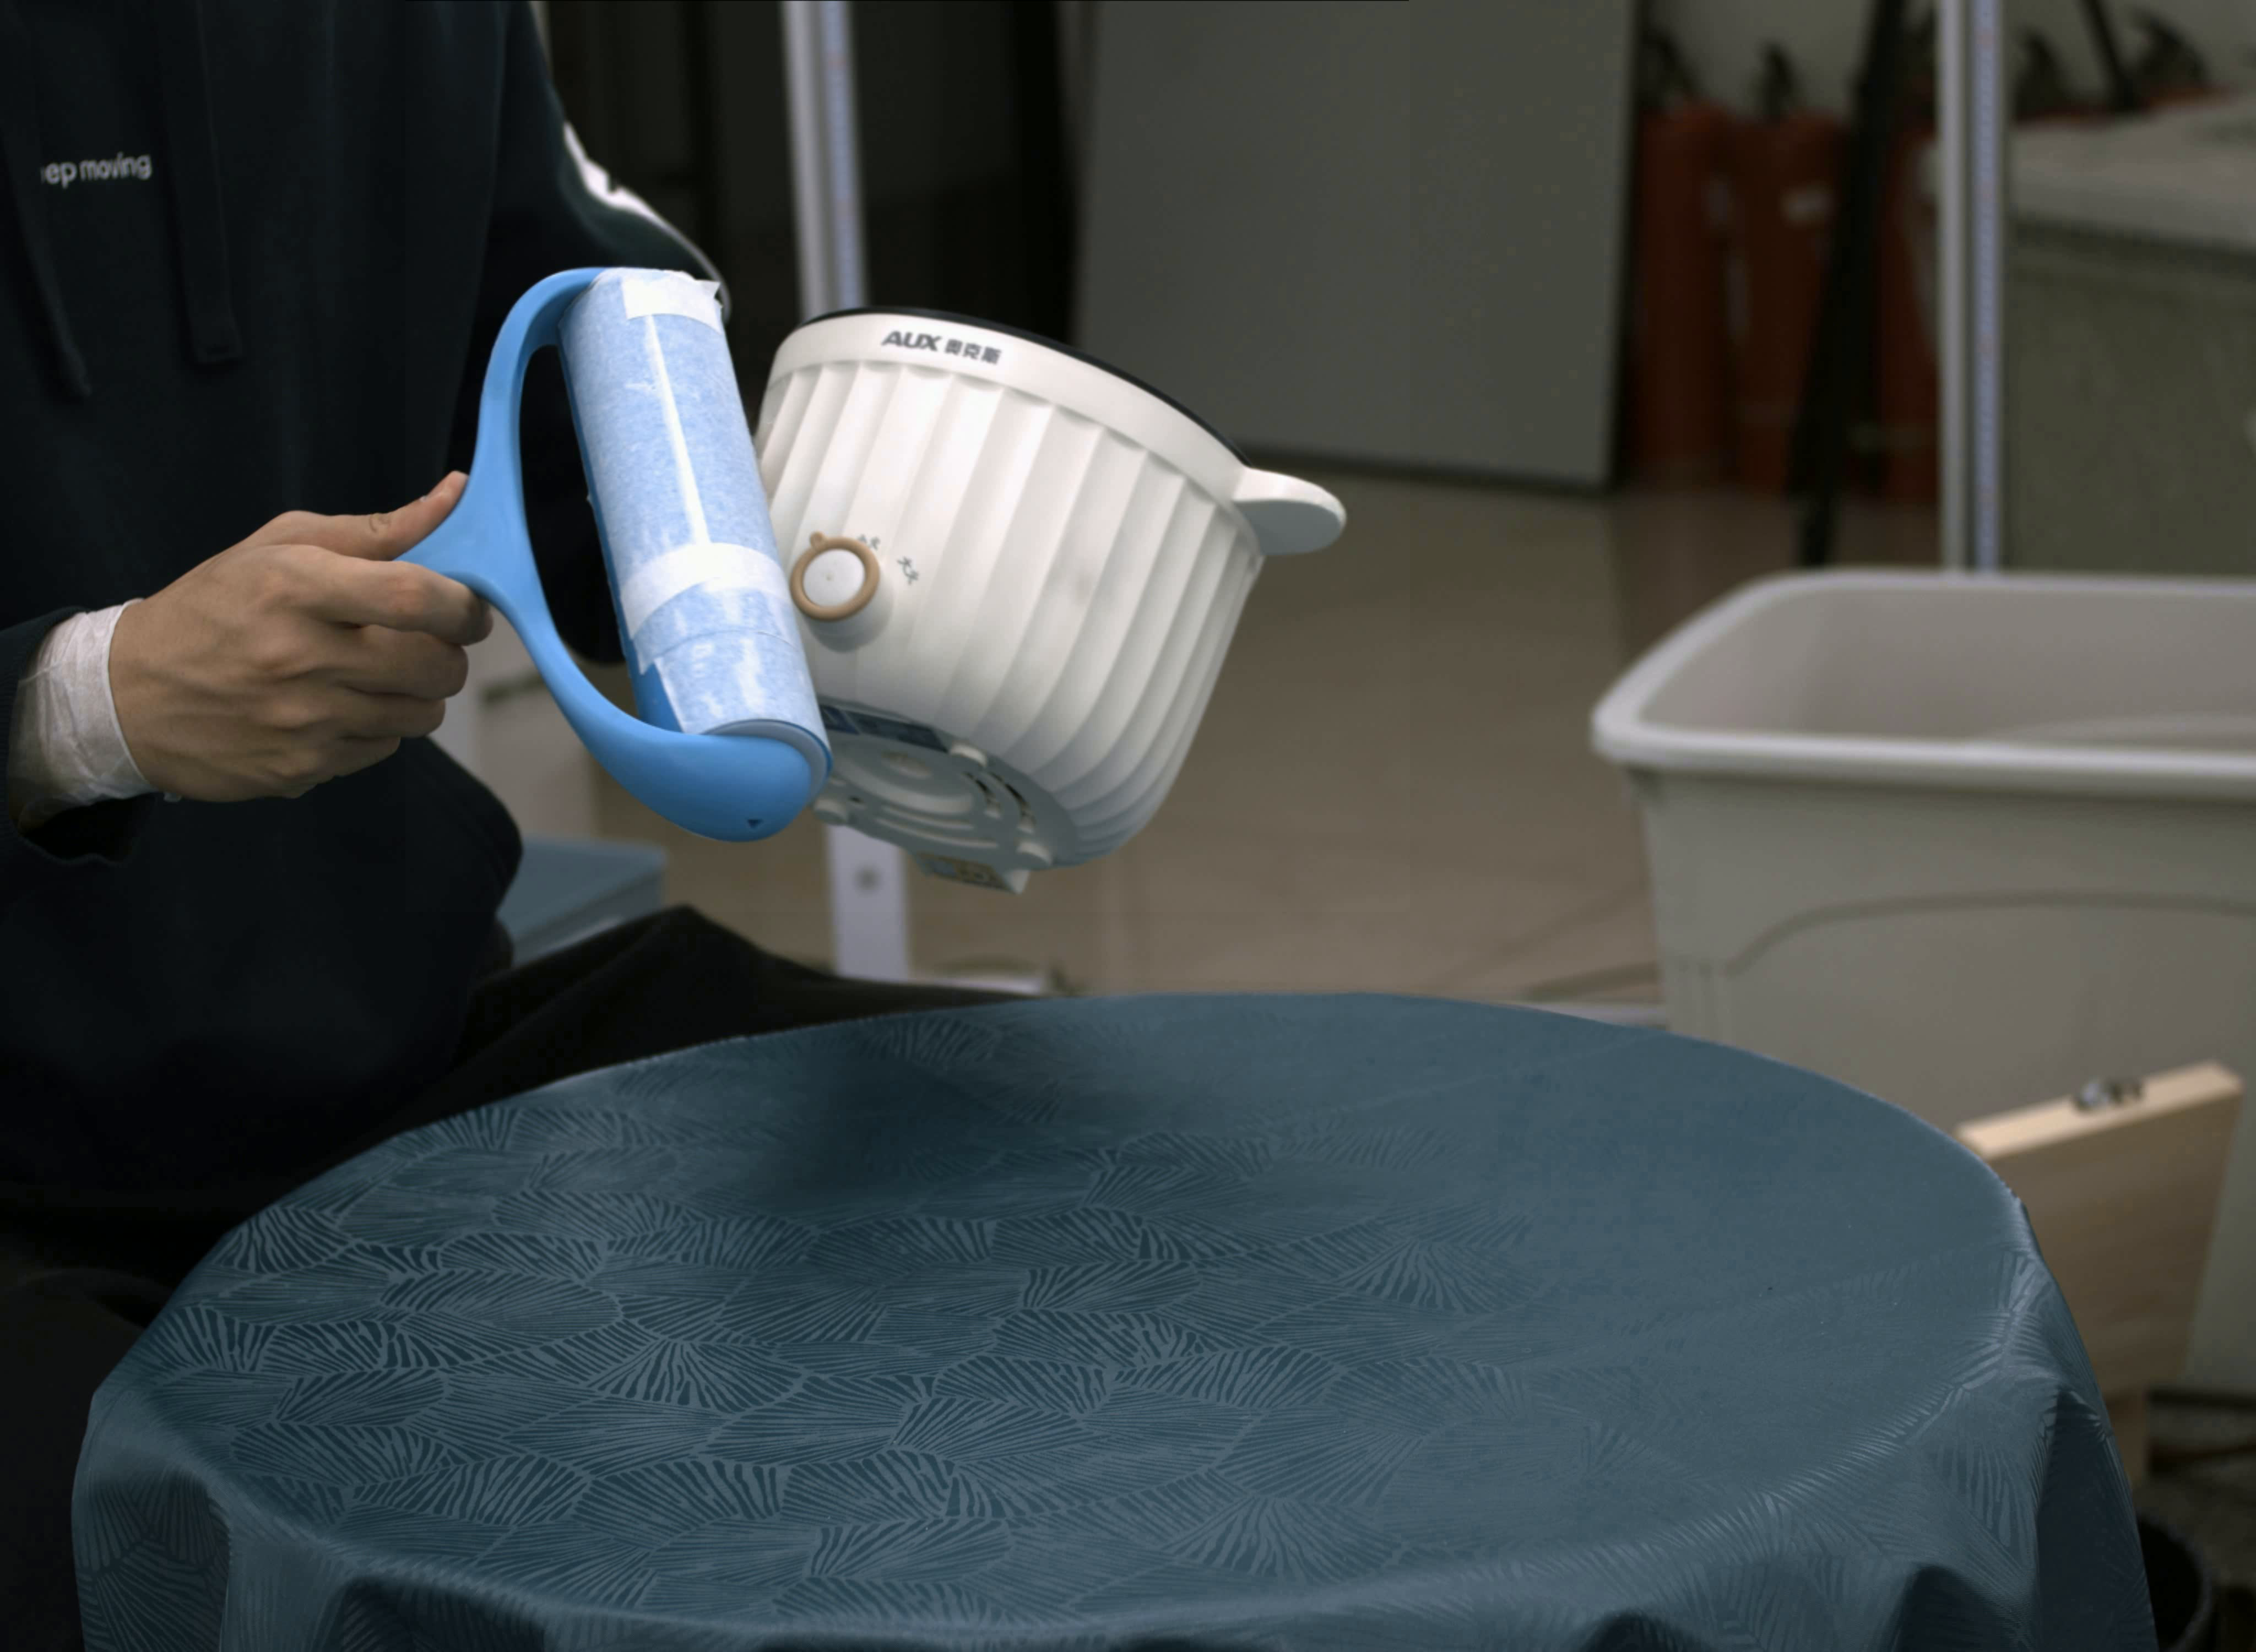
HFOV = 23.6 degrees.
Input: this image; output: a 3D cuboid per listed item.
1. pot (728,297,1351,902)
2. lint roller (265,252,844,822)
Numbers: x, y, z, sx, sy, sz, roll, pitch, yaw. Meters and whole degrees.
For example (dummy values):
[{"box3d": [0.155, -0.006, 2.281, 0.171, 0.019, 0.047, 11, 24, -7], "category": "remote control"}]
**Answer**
[{"box3d": [-0.054, -0.074, 1.822, 0.240, 0.143, 0.189, 10, -25, 21], "category": "pot"}, {"box3d": [-0.188, -0.070, 1.660, 0.178, 0.067, 0.232, -21, 51, 0], "category": "lint roller"}]
